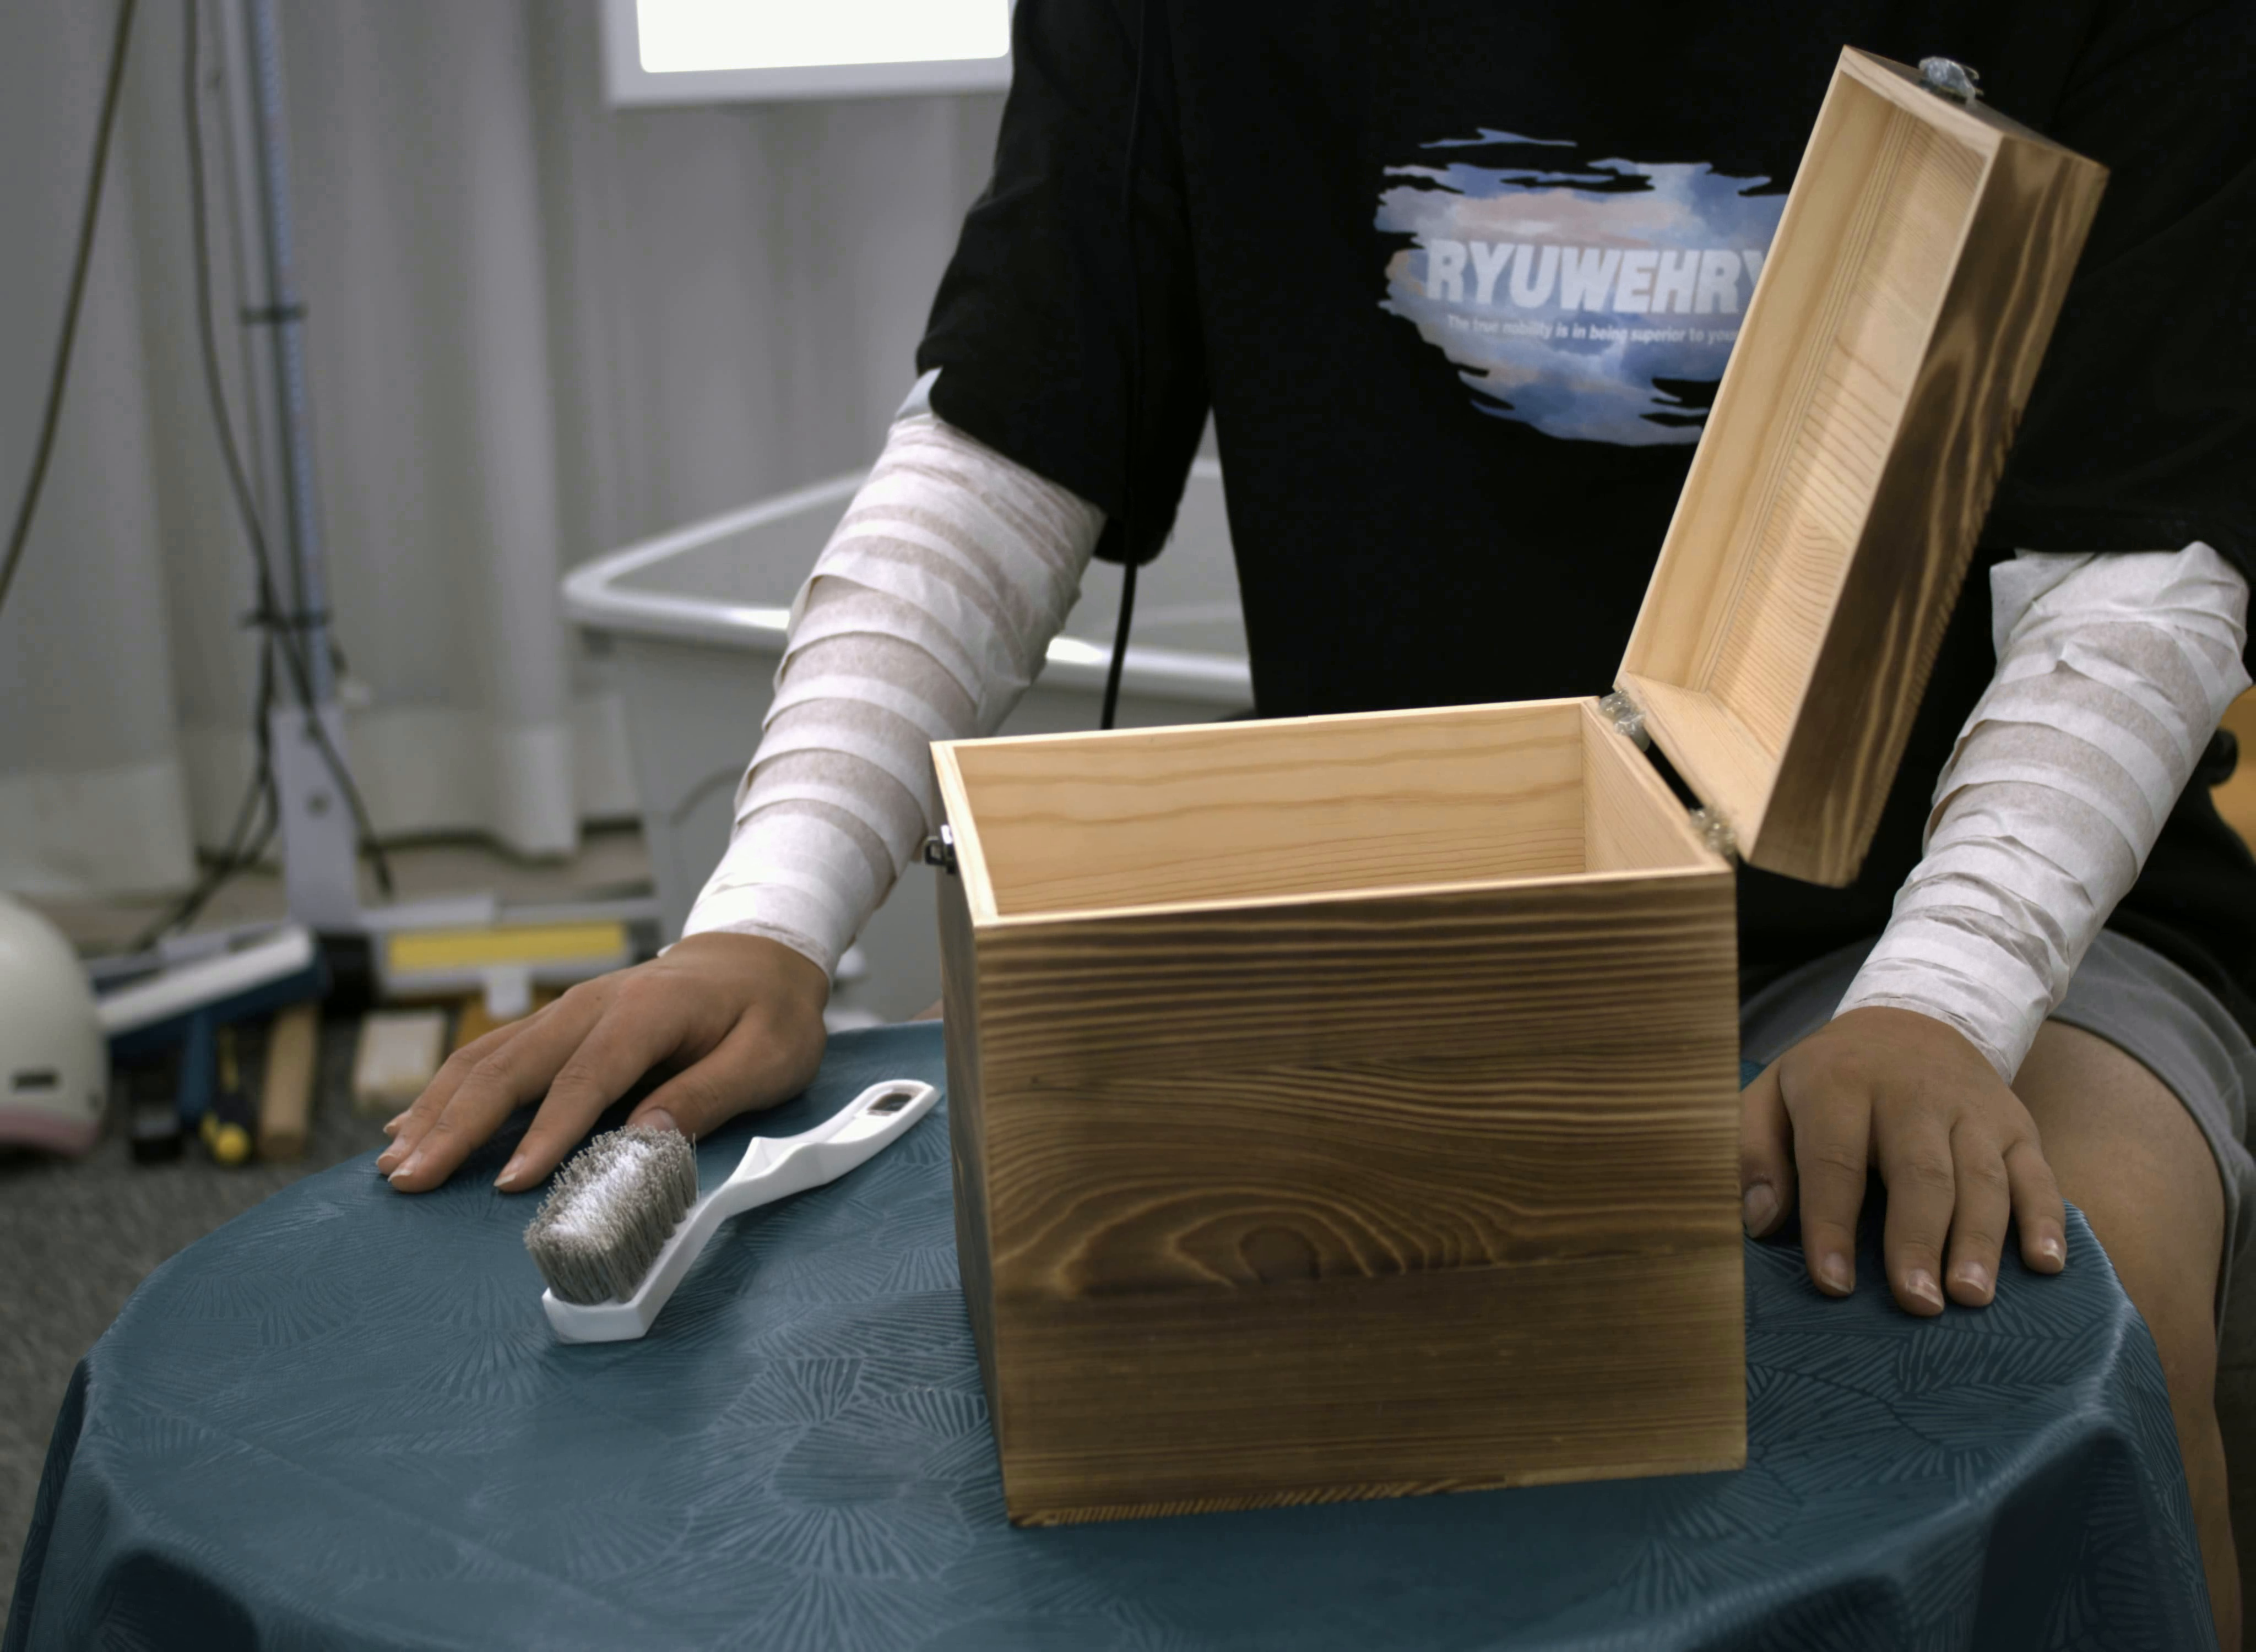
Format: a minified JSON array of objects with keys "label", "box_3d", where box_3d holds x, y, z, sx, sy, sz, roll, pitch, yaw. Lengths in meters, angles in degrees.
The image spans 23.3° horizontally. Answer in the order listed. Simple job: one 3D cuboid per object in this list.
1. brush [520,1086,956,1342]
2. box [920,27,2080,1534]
[{"label":"brush","box_3d":[-0.116,0.100,1.695,0.034,0.050,0.244,1,15,25]},{"label":"box","box_3d":[0.100,-0.025,1.516,0.321,0.374,0.210,-4,12,-5]}]
